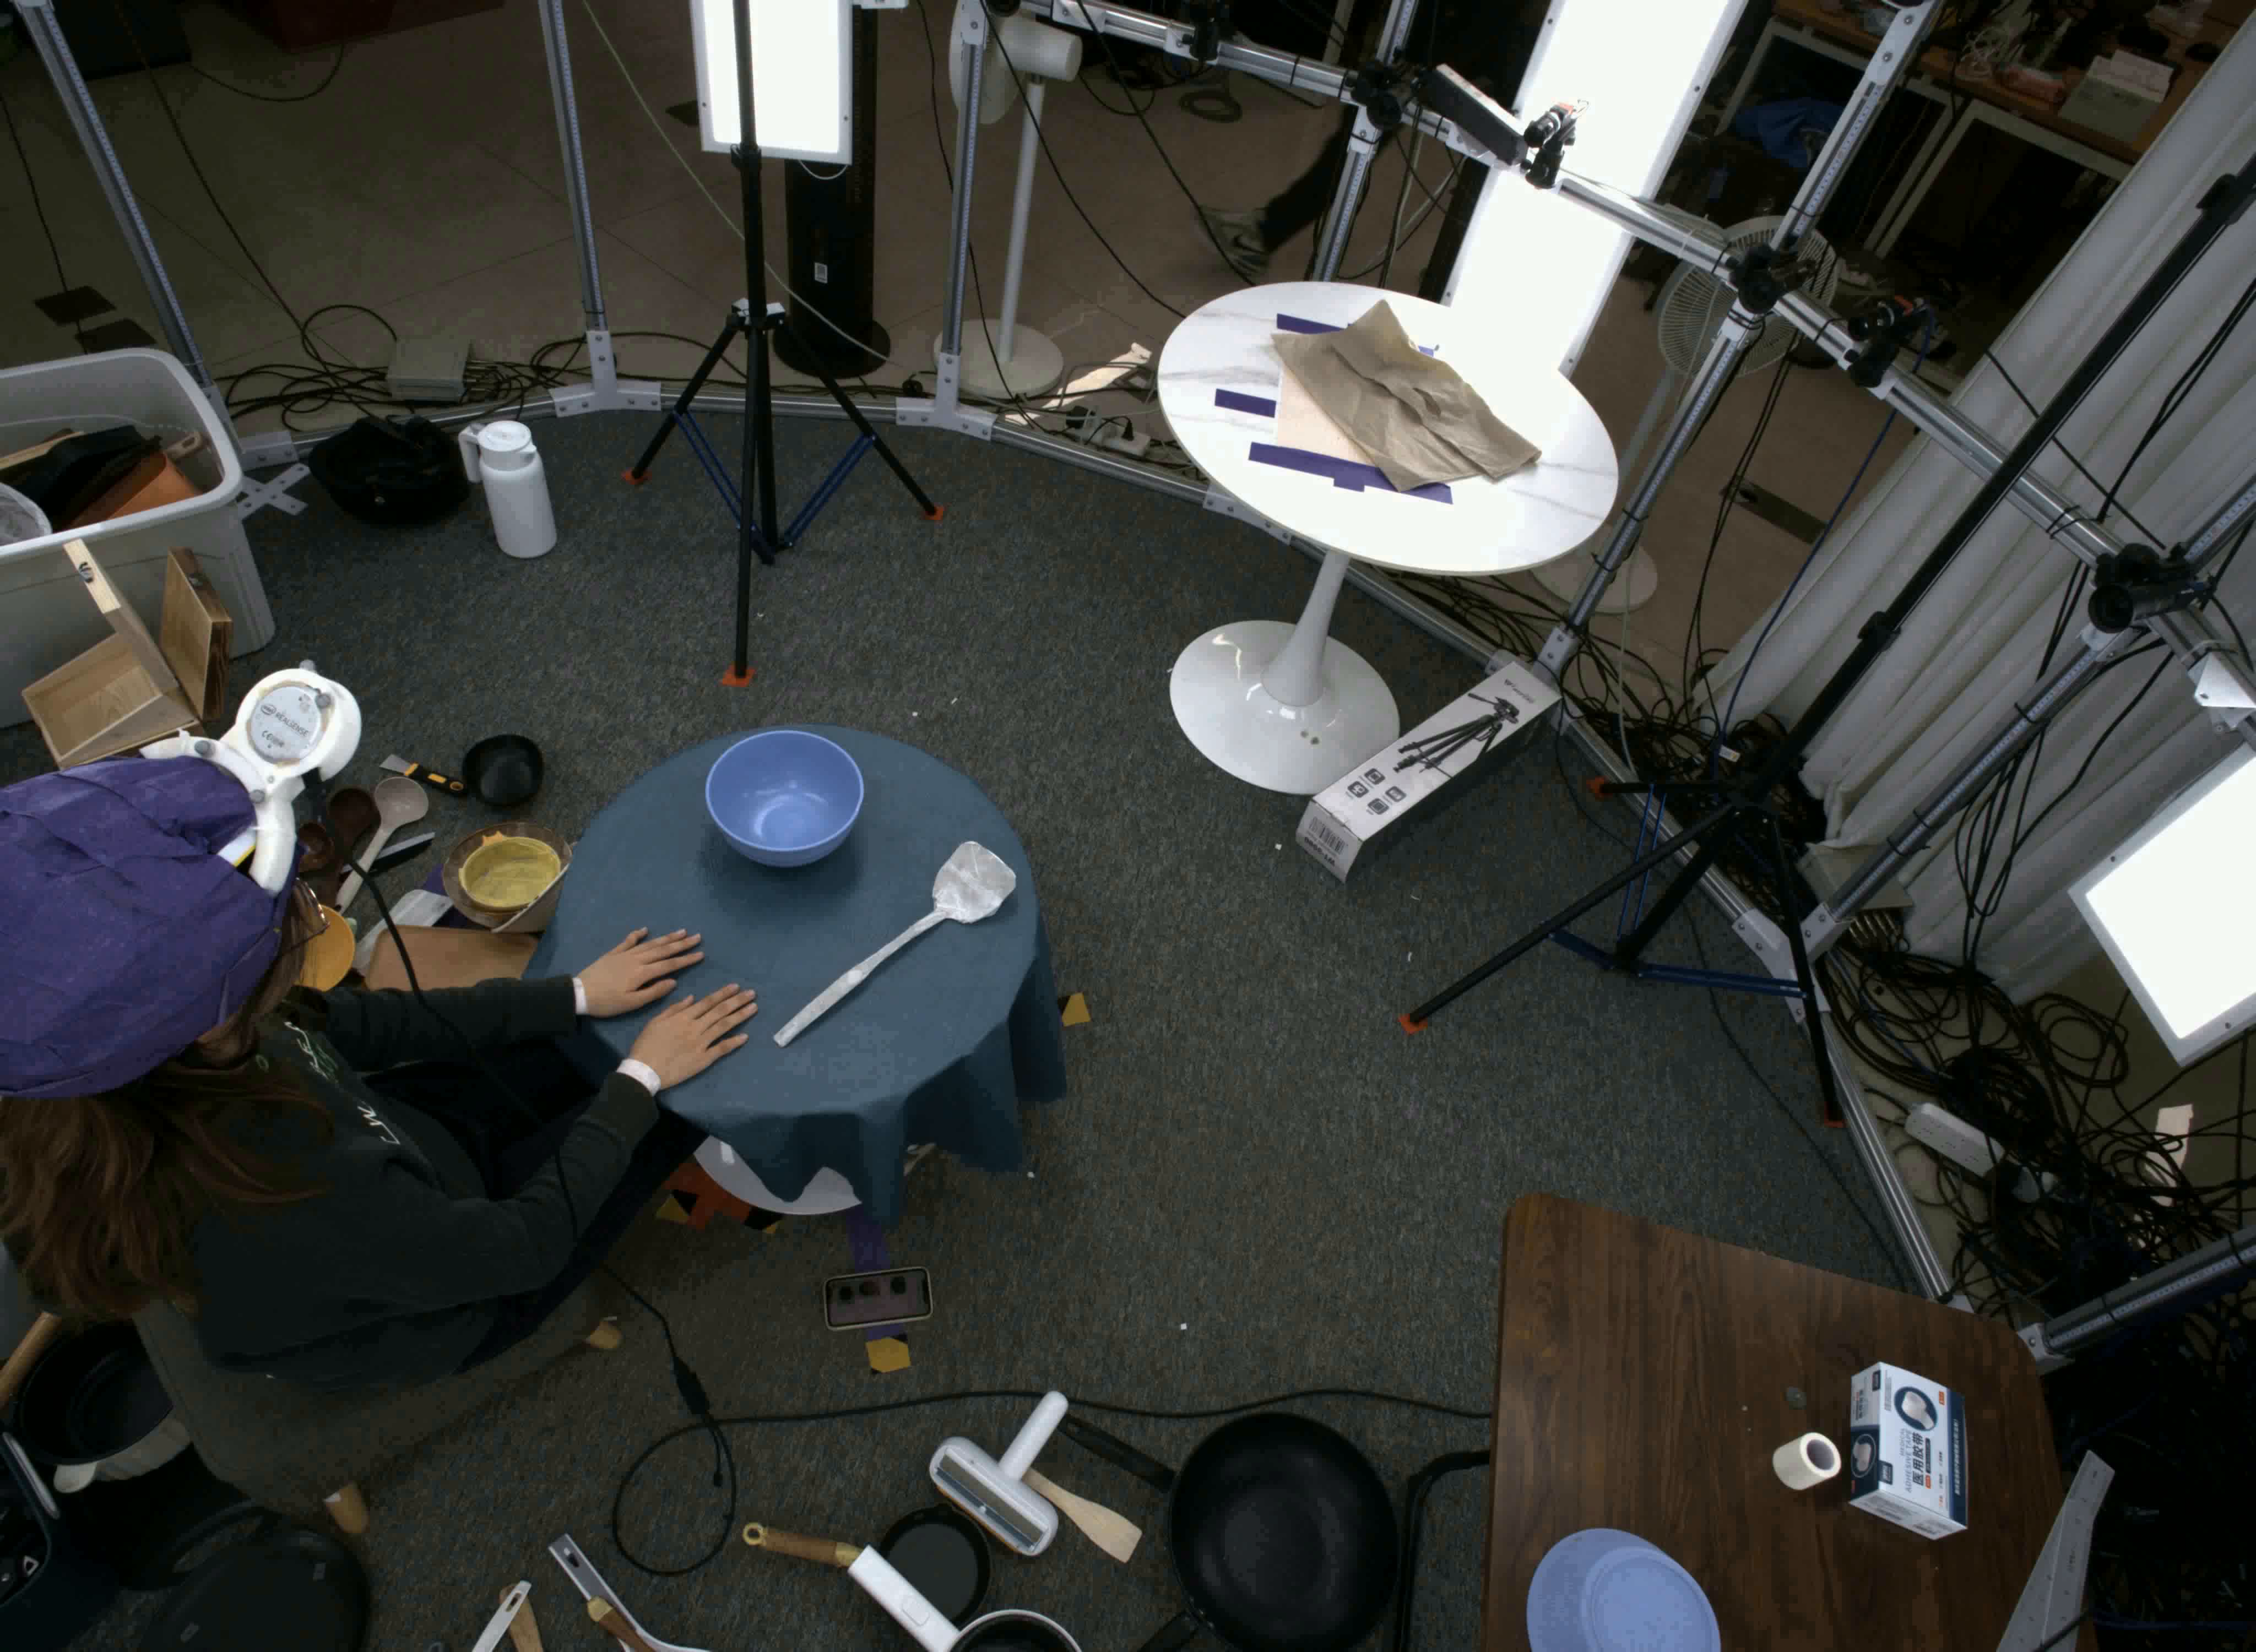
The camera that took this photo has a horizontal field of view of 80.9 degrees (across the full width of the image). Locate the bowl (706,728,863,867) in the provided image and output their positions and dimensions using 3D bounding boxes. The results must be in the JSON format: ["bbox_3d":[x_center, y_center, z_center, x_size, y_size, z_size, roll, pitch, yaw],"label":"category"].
[{"bbox_3d":[-0.443,-0.022,1.679,0.196,0.097,0.193,8,52,-9],"label":"bowl"}]

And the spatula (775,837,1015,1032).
[{"bbox_3d":[-0.294,0.141,1.632,0.097,0.045,0.365,41,55,15],"label":"spatula"}]
